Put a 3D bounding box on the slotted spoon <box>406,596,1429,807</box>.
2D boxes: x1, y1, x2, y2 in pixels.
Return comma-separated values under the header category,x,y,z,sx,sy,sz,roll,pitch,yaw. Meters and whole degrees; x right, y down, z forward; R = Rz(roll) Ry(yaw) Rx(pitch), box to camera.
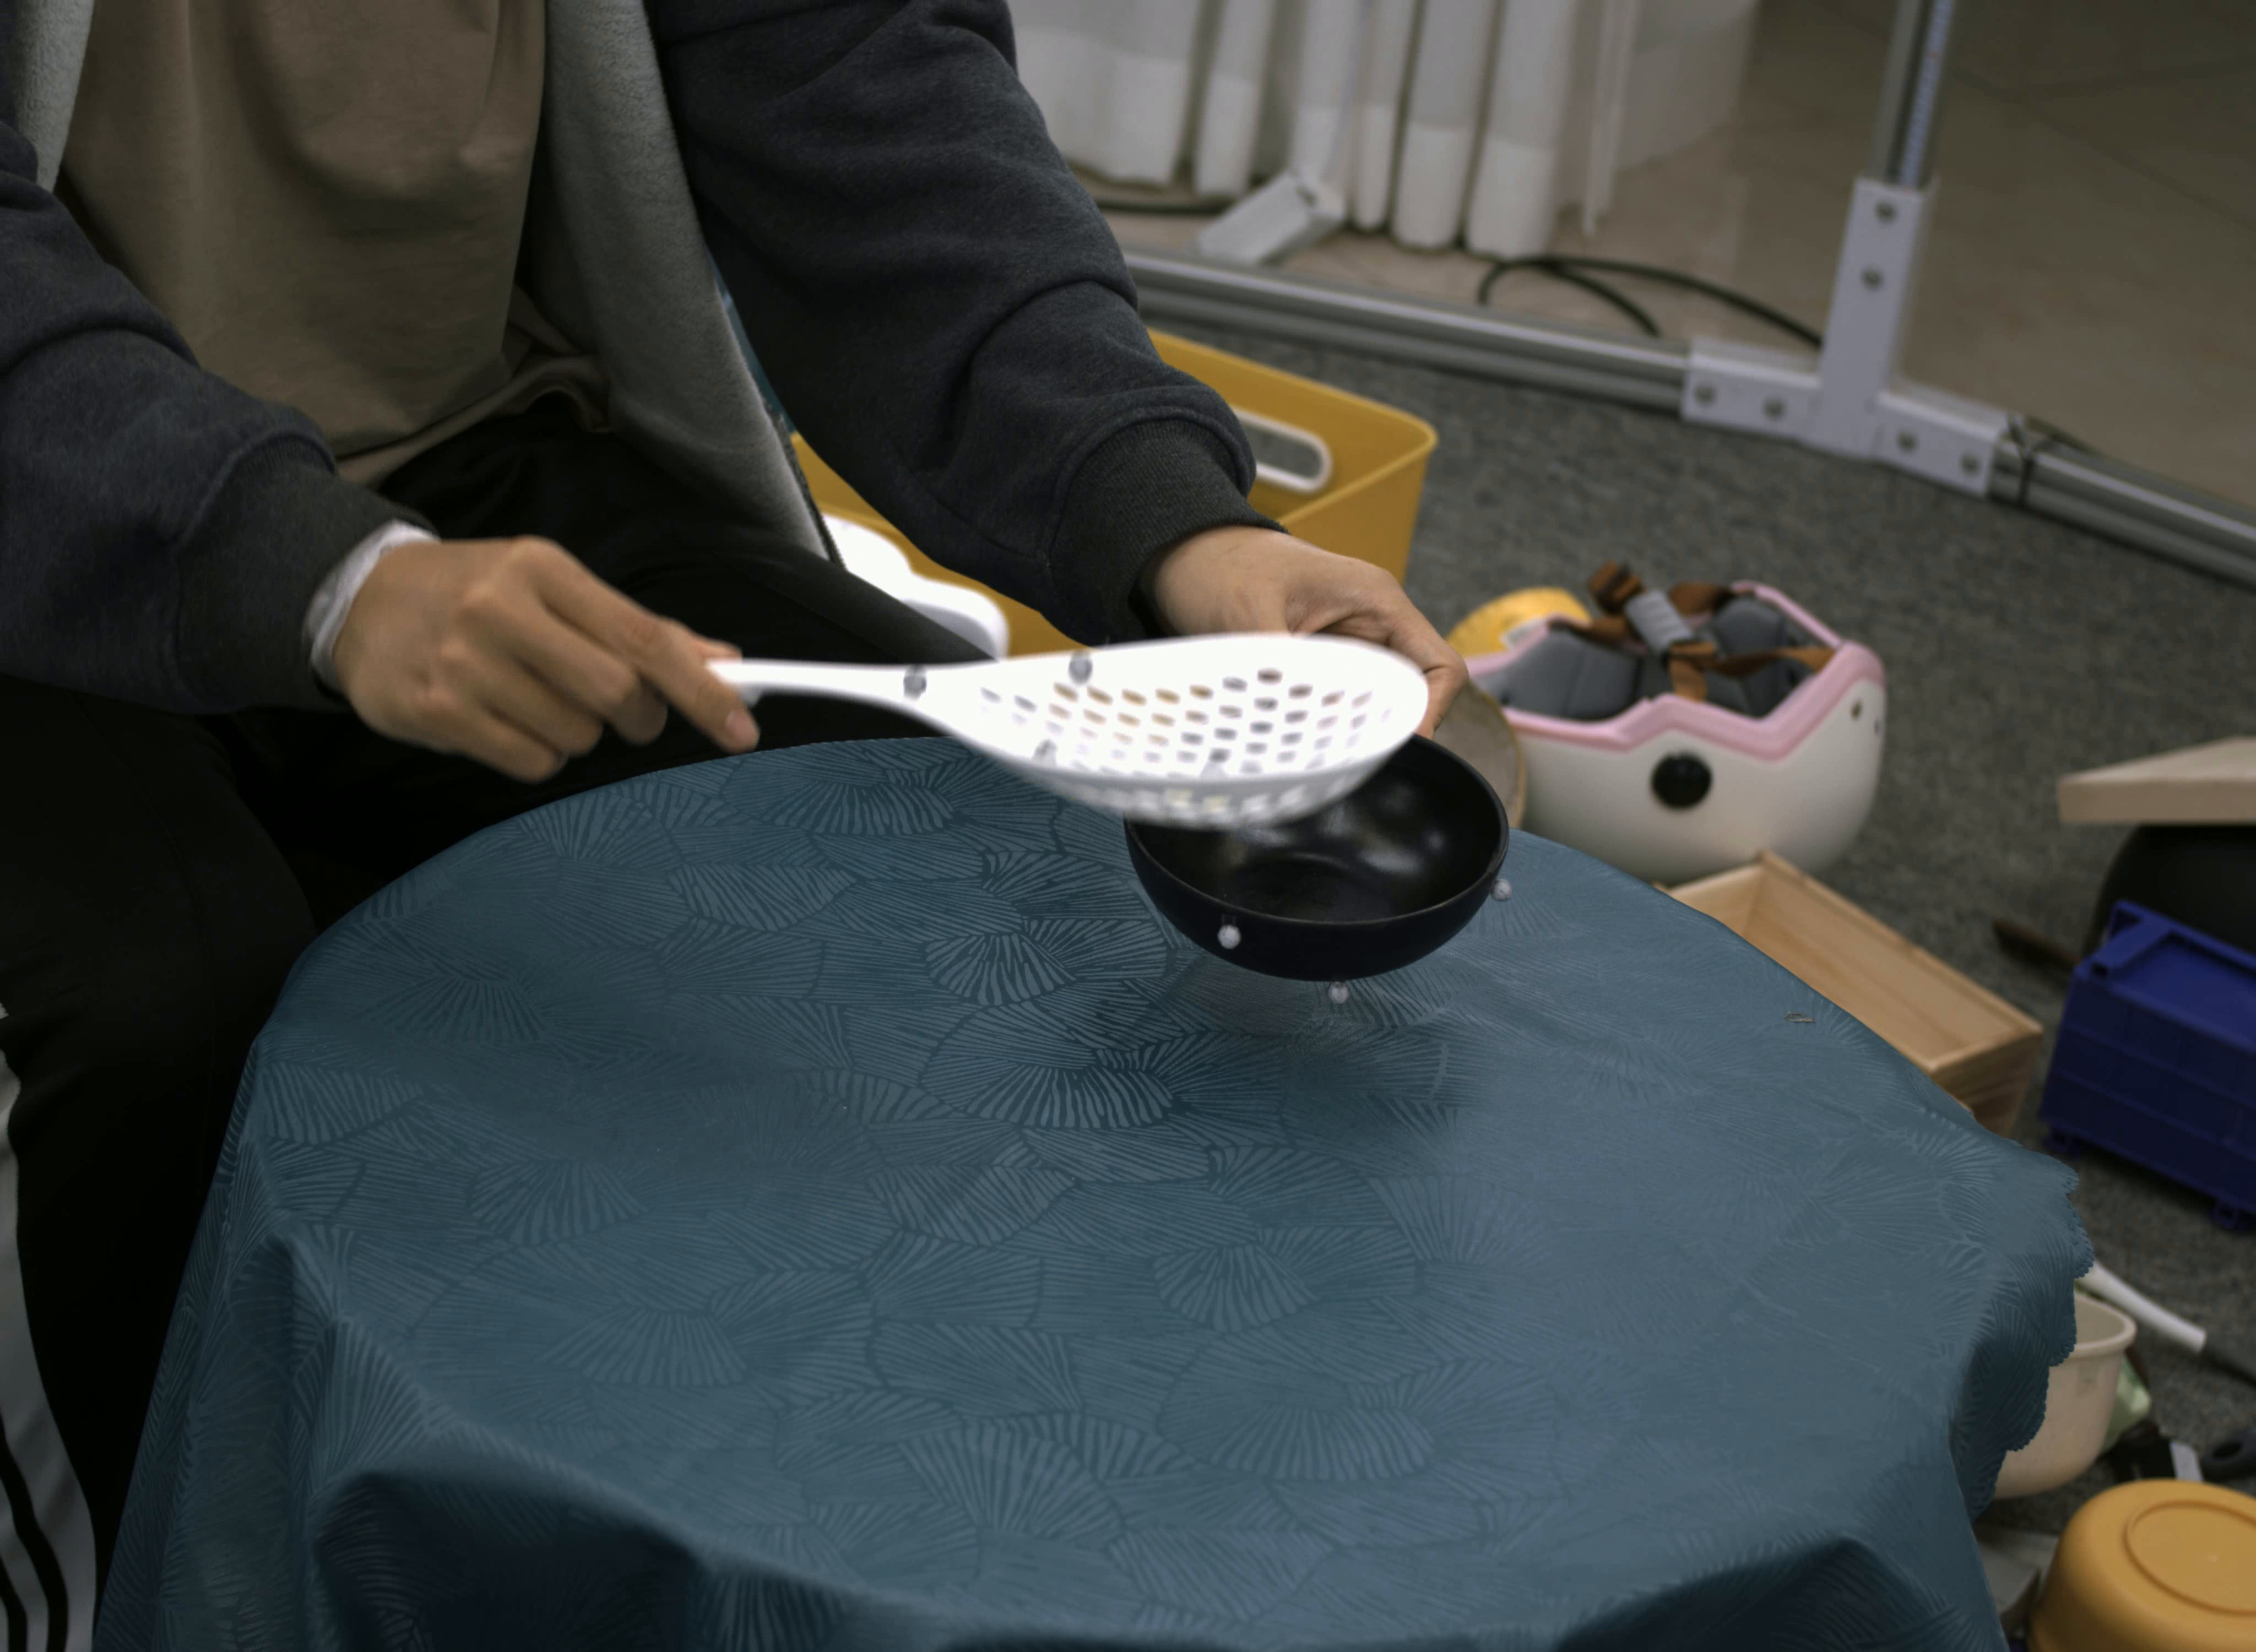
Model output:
category,x,y,z,sx,sy,sz,roll,pitch,yaw
slotted spoon,-0.073,-0.040,1.759,0.348,0.050,0.137,5,24,13
